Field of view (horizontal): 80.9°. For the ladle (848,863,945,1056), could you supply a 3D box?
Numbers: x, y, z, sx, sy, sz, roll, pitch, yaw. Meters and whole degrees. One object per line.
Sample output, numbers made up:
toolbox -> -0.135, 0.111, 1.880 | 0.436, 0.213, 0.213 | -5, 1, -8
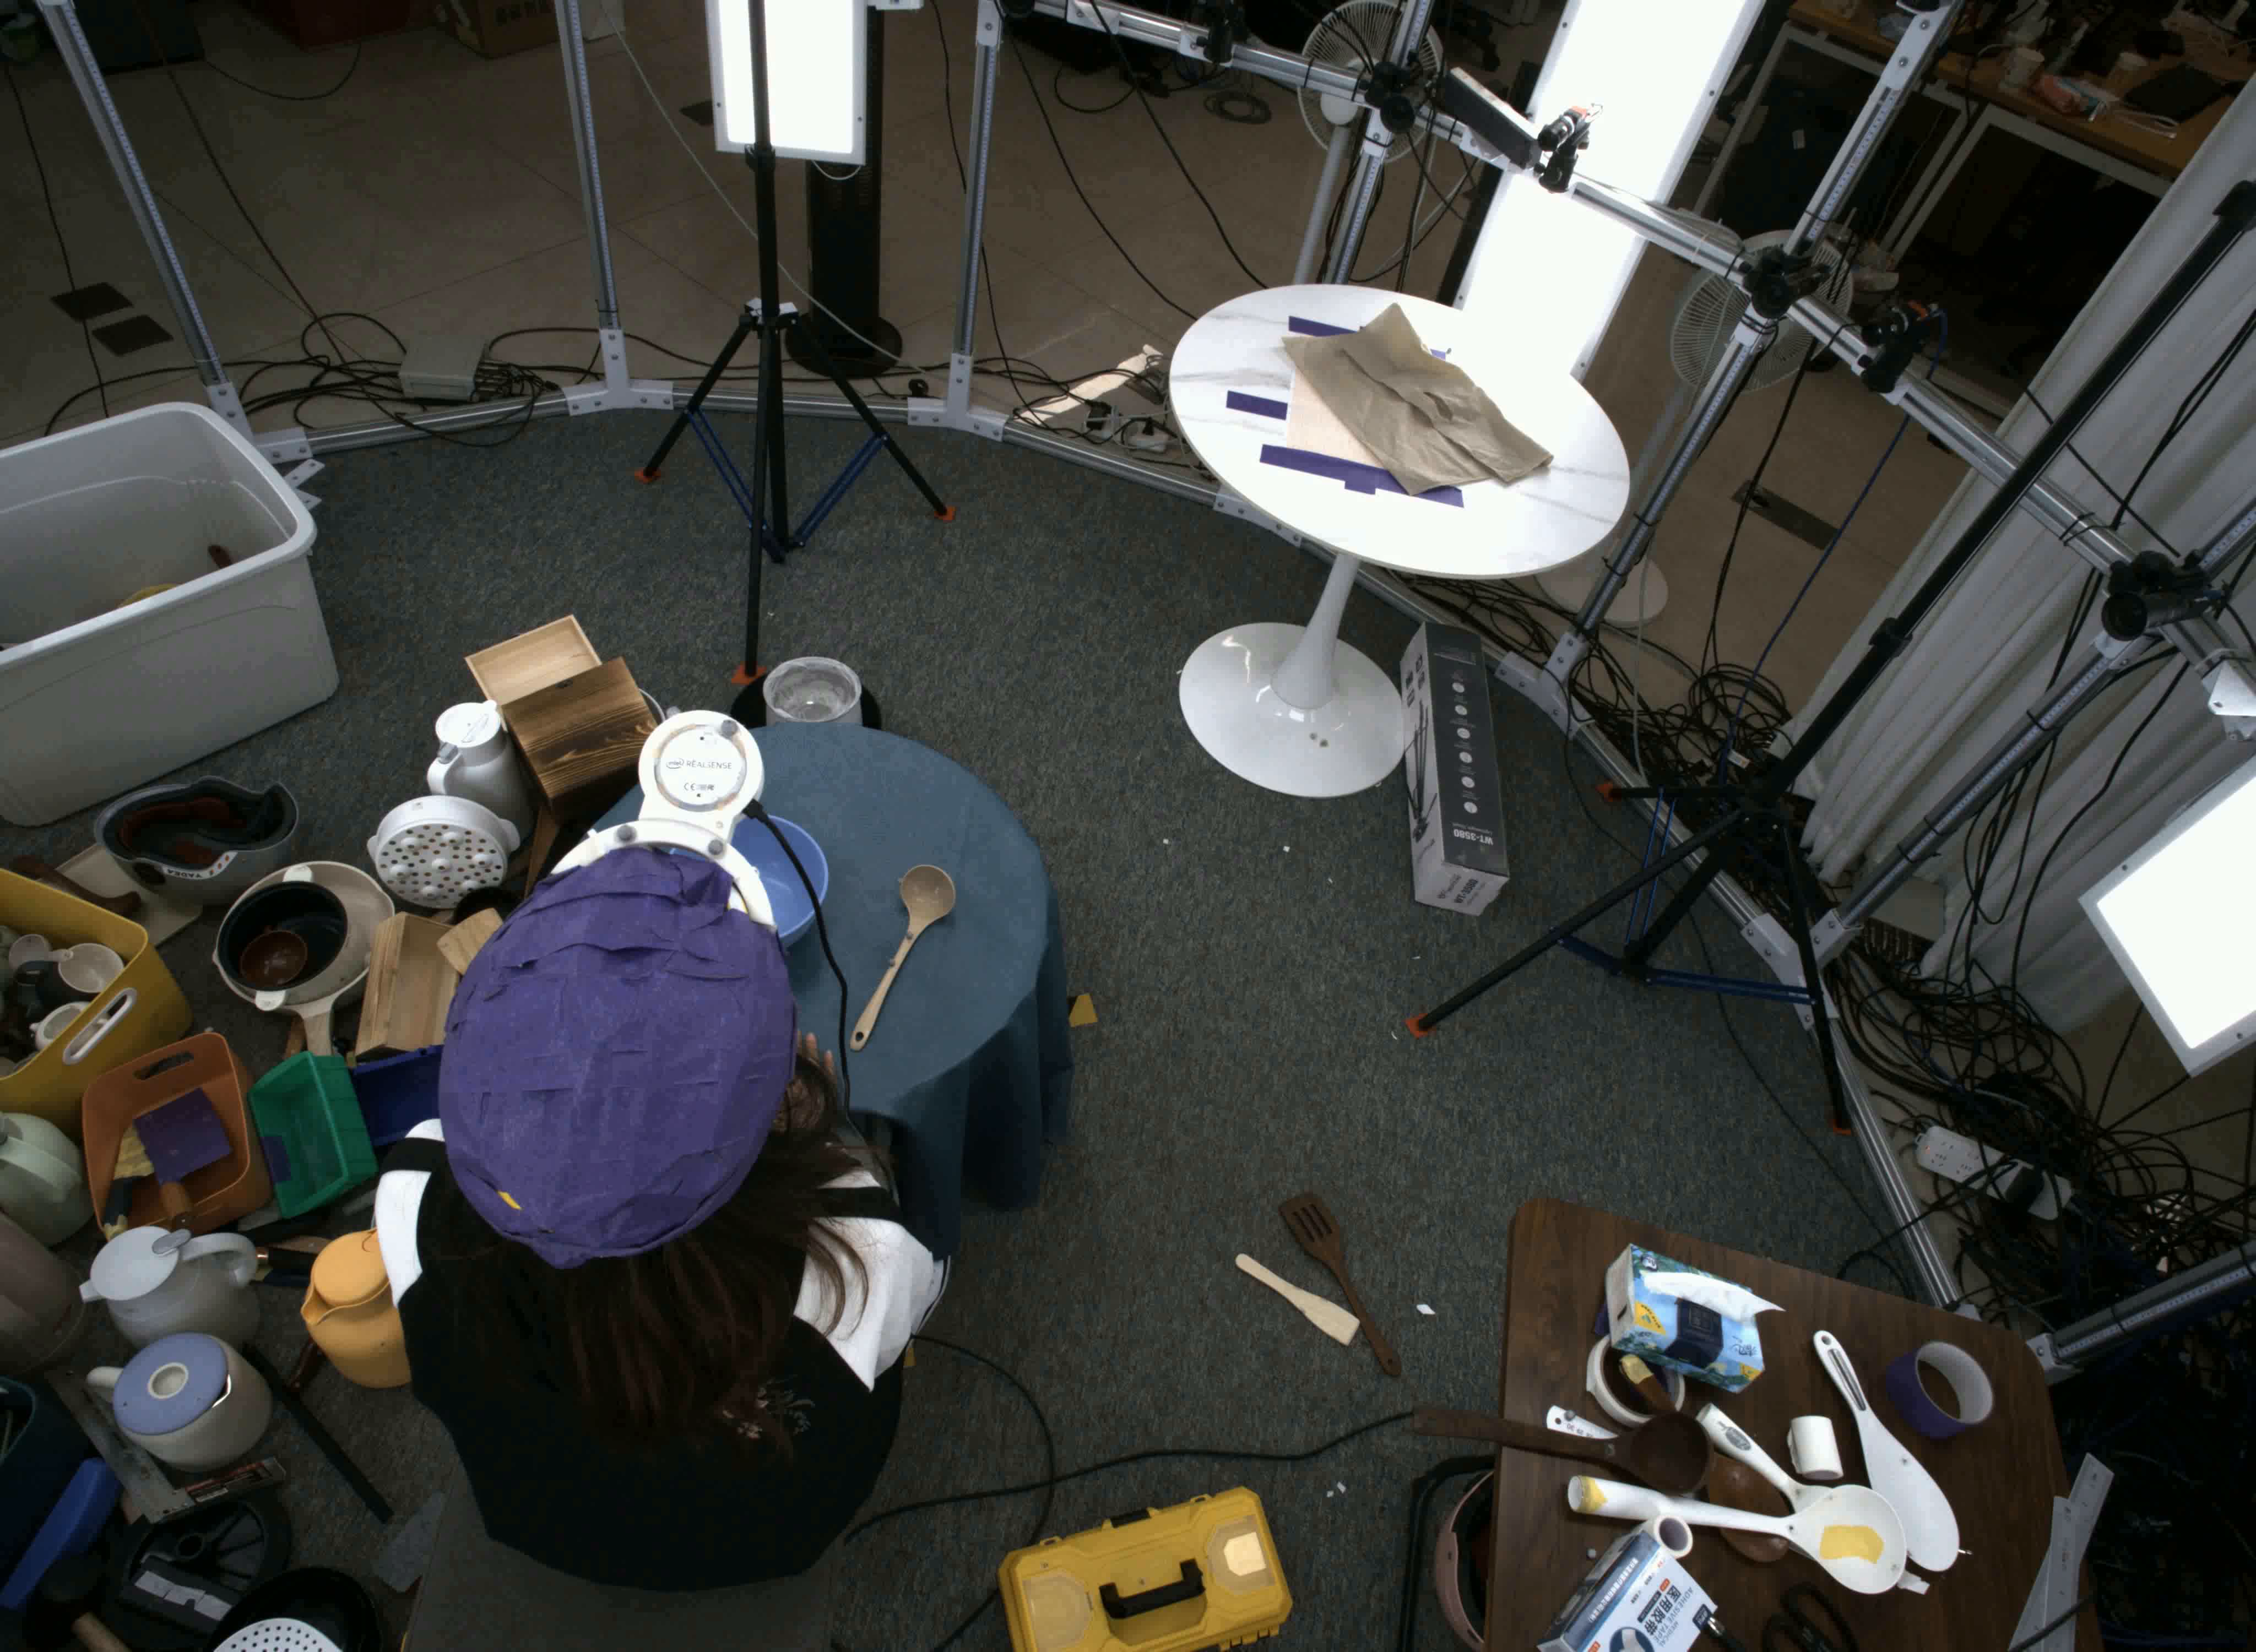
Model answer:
ladle -> -0.291, 0.154, 1.592 | 0.071, 0.074, 0.251 | 17, 51, 1

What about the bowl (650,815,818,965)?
bowl -> -0.478, 0.092, 1.579 | 0.196, 0.097, 0.193 | 9, 52, -10
